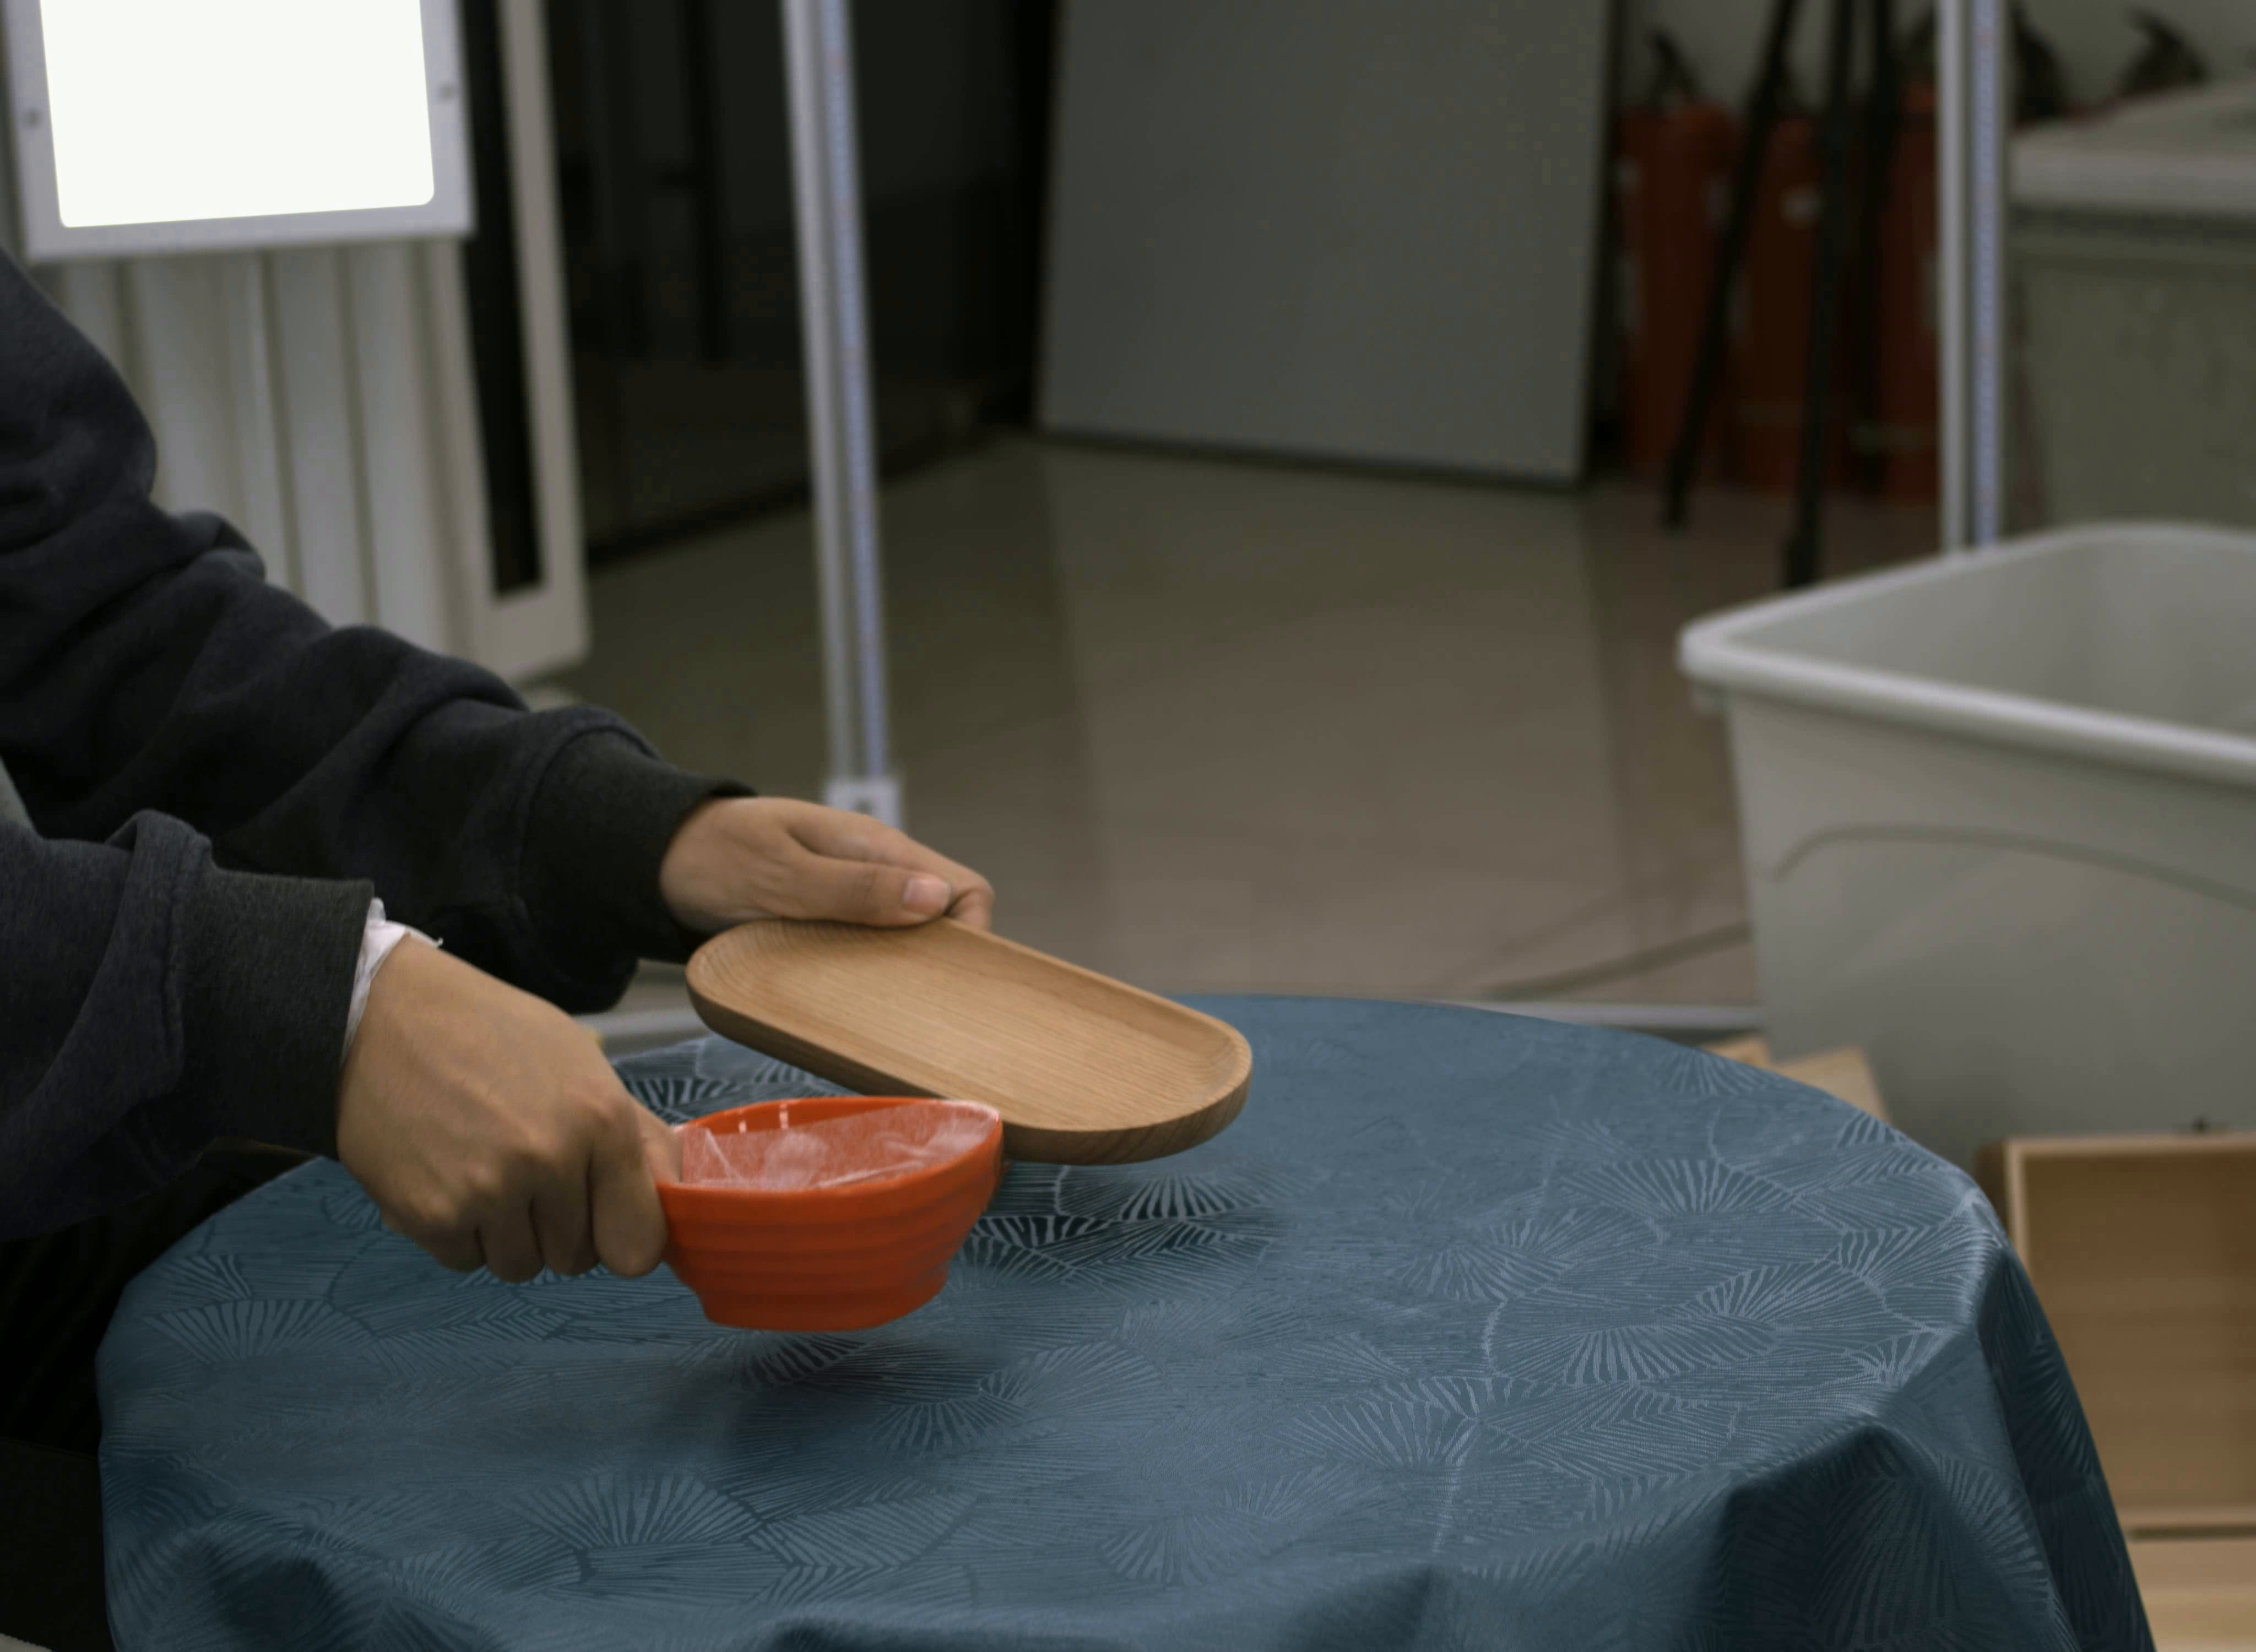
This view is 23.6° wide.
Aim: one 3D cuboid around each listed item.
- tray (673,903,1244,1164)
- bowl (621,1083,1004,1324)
[{"bbox_3d":[-0.058,0.067,1.784,0.100,0.020,0.233,-22,27,-39],"label":"tray"},{"bbox_3d":[-0.092,0.115,1.617,0.117,0.052,0.119,-4,11,0],"label":"bowl"}]
